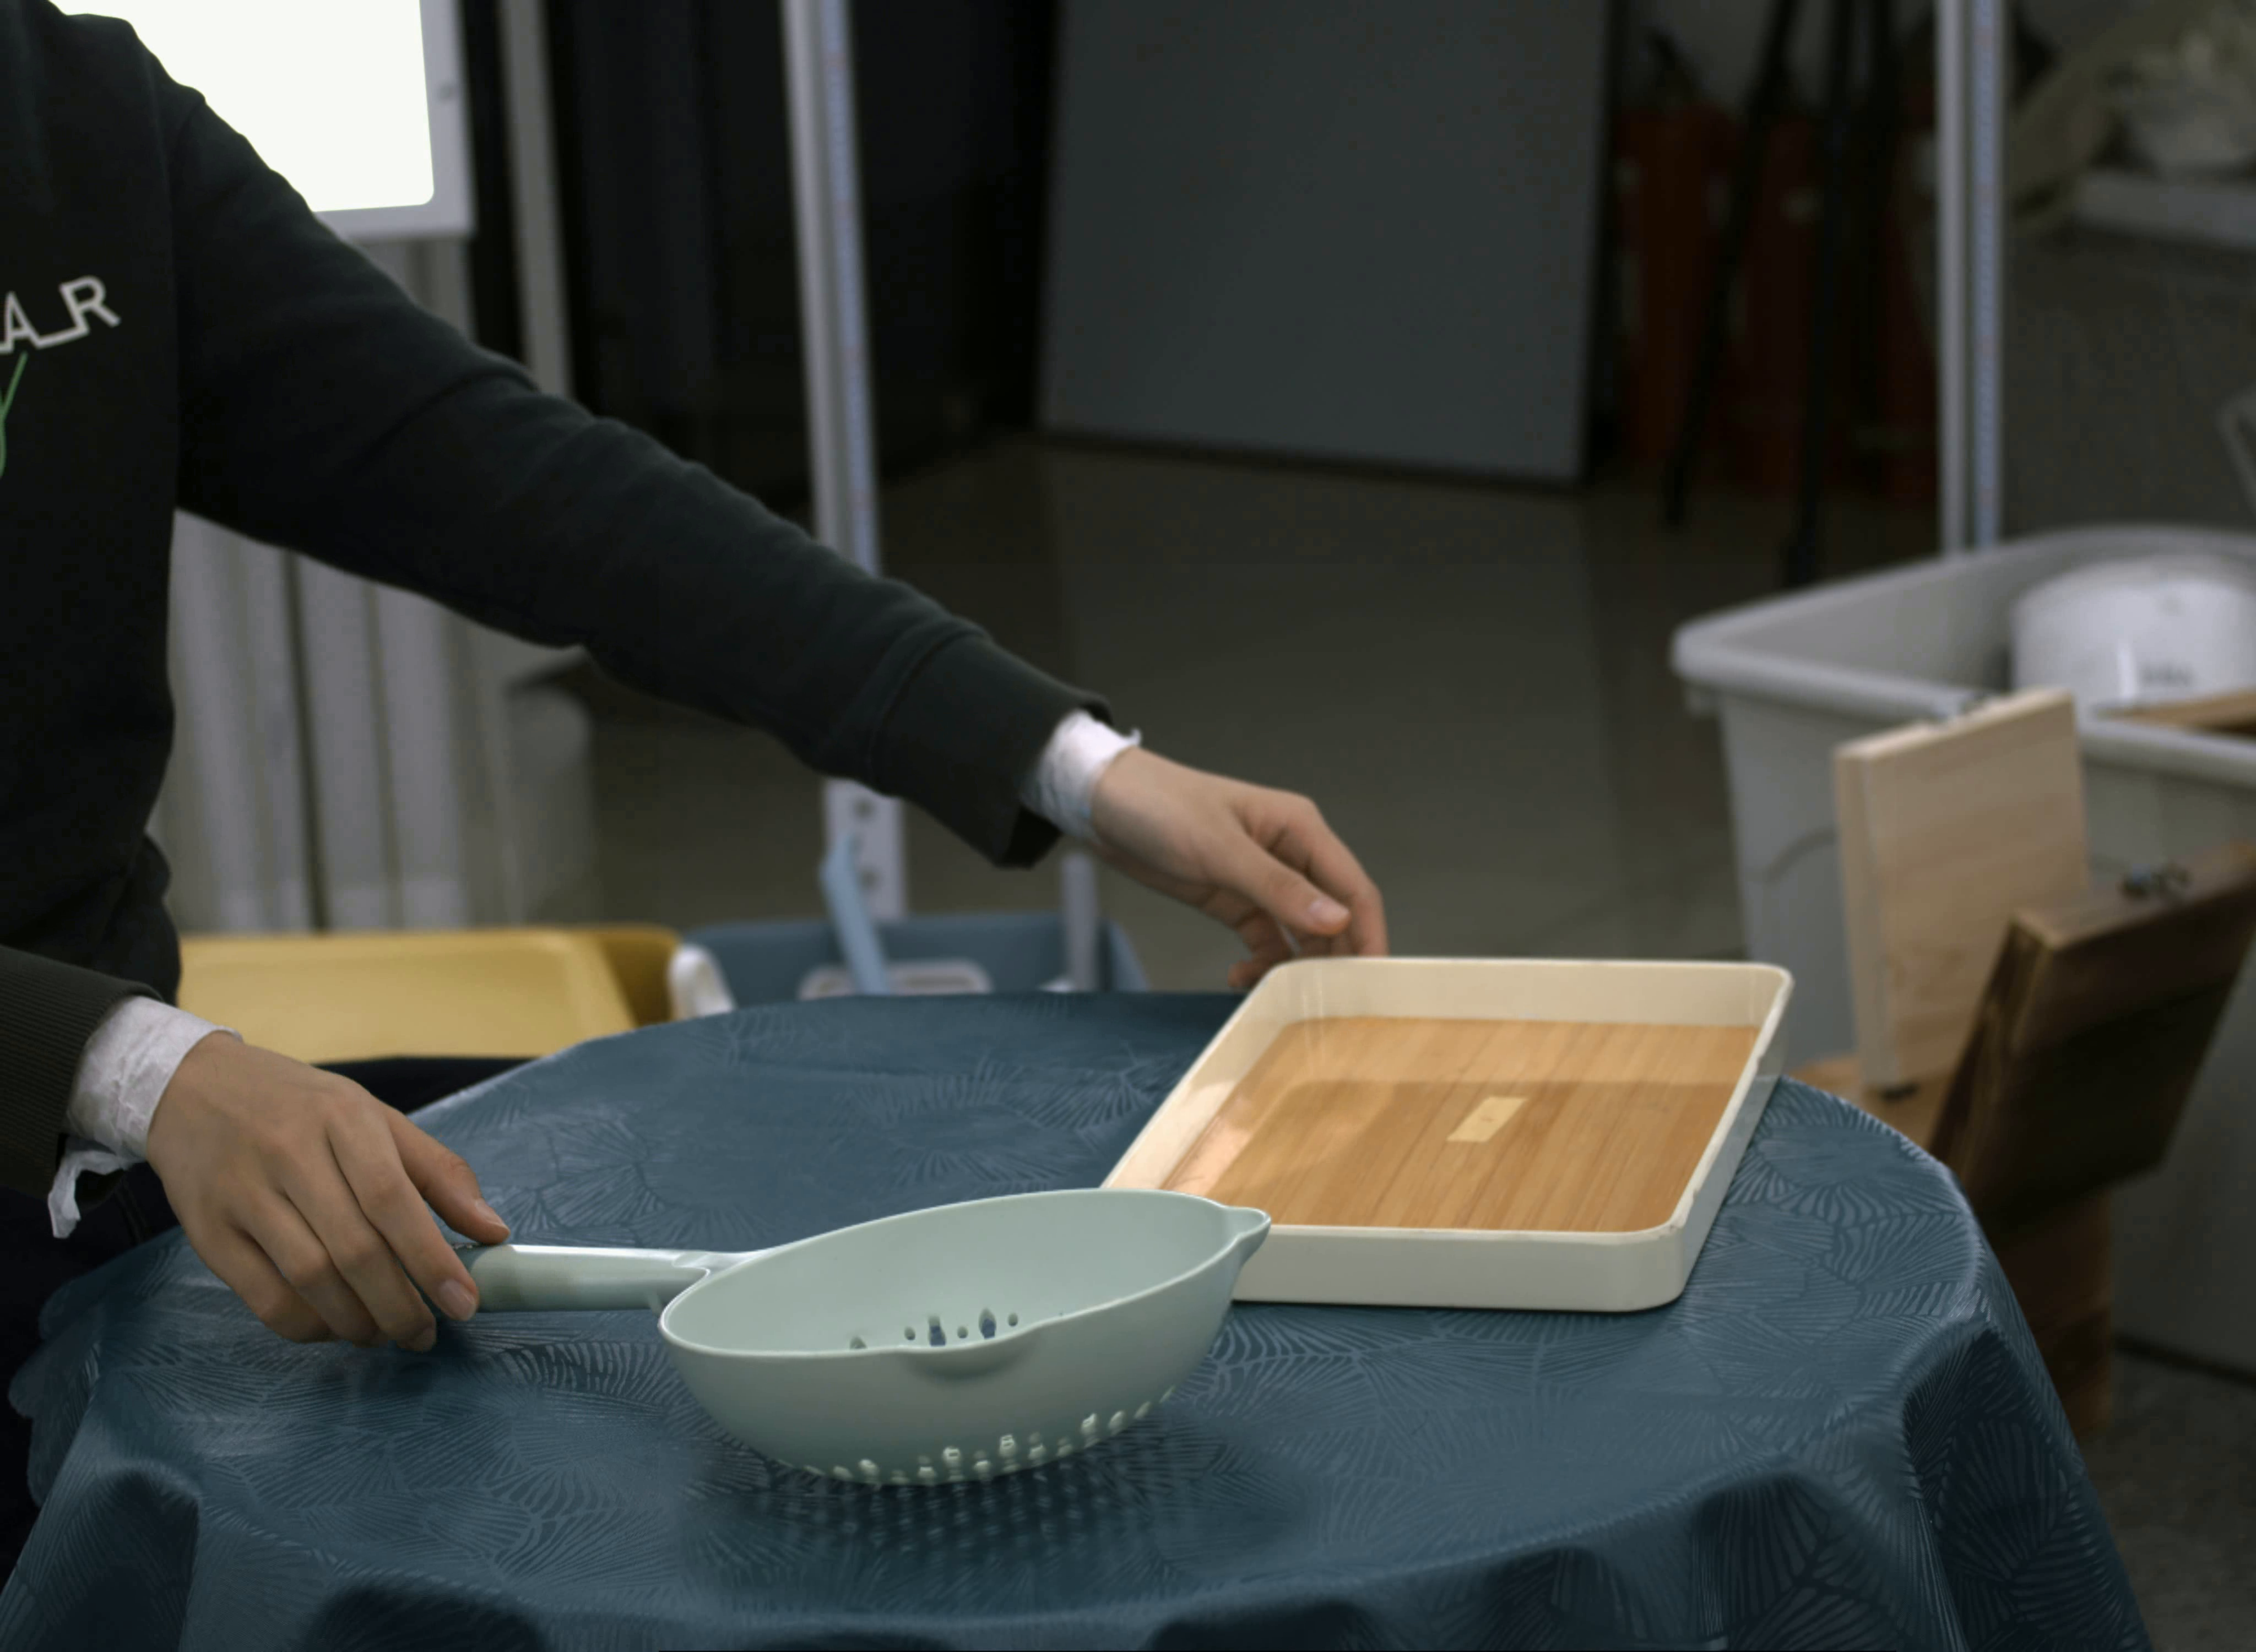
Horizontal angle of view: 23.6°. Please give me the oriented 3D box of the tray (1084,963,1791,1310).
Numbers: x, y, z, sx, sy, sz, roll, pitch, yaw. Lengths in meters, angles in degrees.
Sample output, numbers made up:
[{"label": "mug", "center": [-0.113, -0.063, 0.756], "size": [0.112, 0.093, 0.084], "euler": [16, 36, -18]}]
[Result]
[{"label": "tray", "center": [0.109, 0.098, 1.777], "size": [0.191, 0.028, 0.298], "euler": [0, 14, 15]}]

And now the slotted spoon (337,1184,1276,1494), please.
[{"label": "slotted spoon", "center": [-0.118, 0.140, 1.594], "size": [0.362, 0.076, 0.166], "euler": [9, 18, 42]}]
